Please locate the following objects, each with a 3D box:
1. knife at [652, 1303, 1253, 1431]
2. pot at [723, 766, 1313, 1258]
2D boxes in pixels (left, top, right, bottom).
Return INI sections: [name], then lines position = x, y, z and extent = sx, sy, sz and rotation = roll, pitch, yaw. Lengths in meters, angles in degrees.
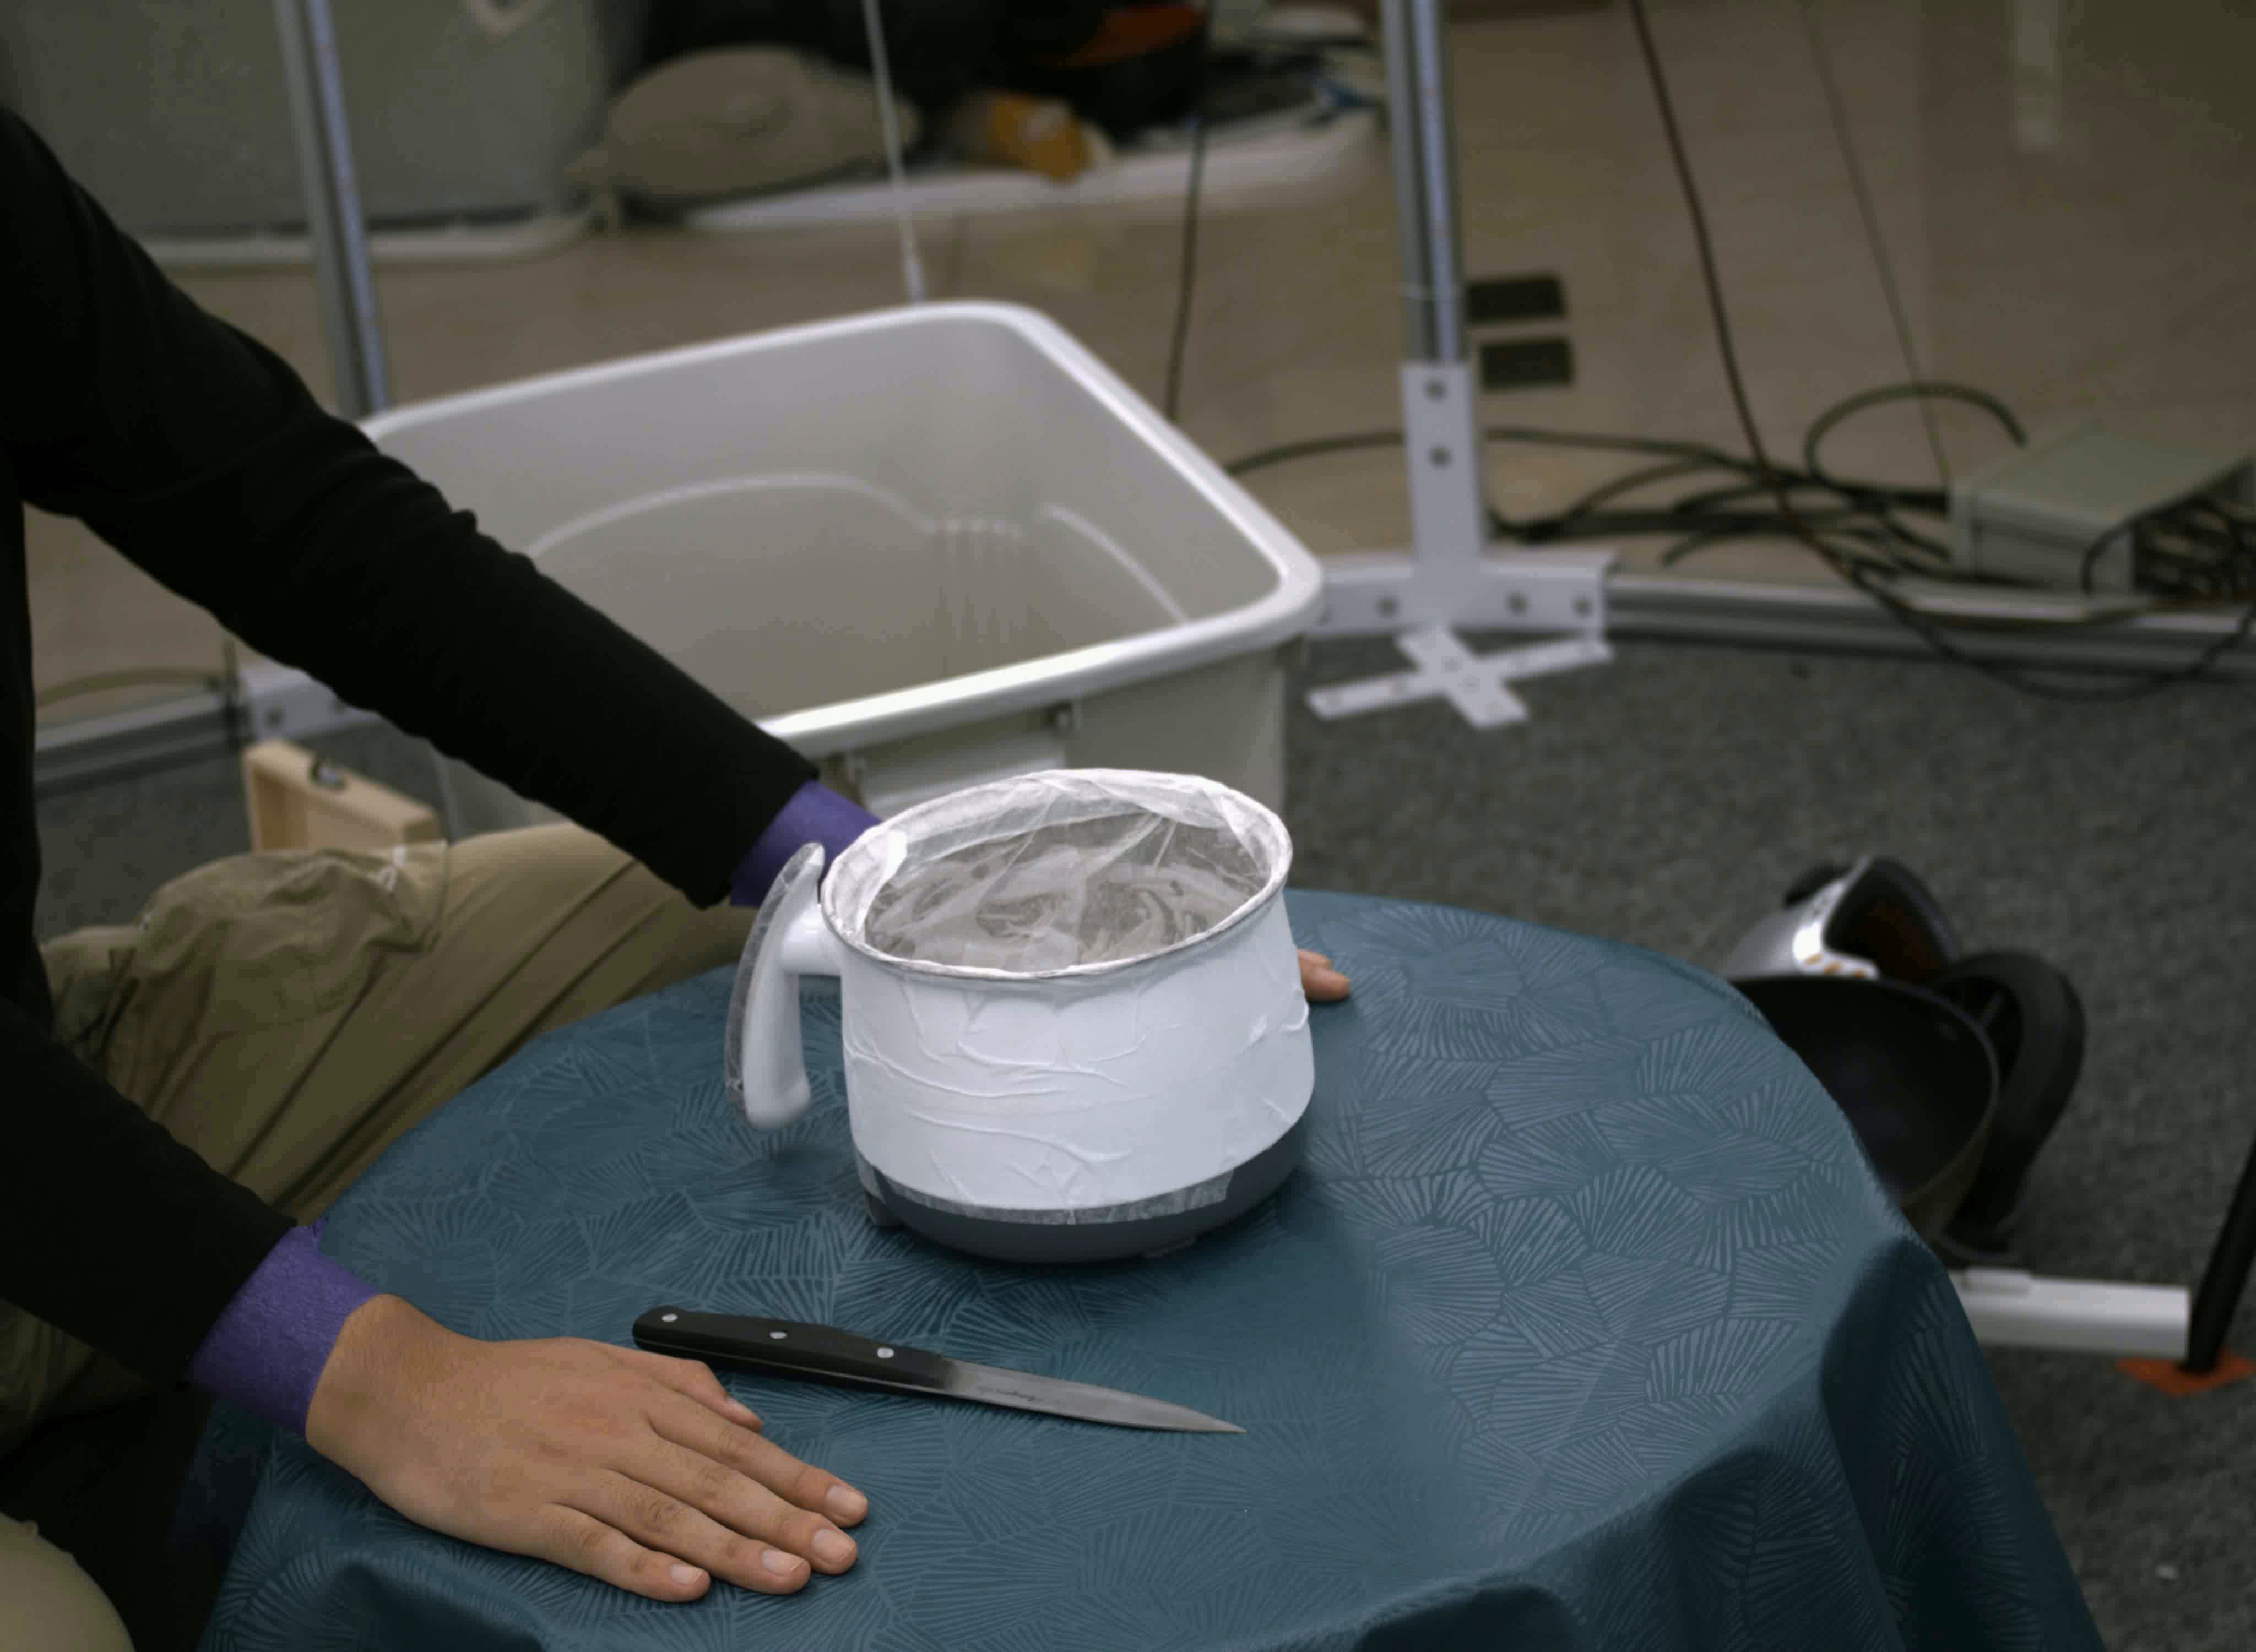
[knife]
position = -0.067, 0.197, 2.029
extent = 0.237, 0.016, 0.024
rotation = 8, 29, 22
[pot]
position = -0.046, 0.070, 2.139
extent = 0.233, 0.139, 0.176
rotation = 4, 26, 18
